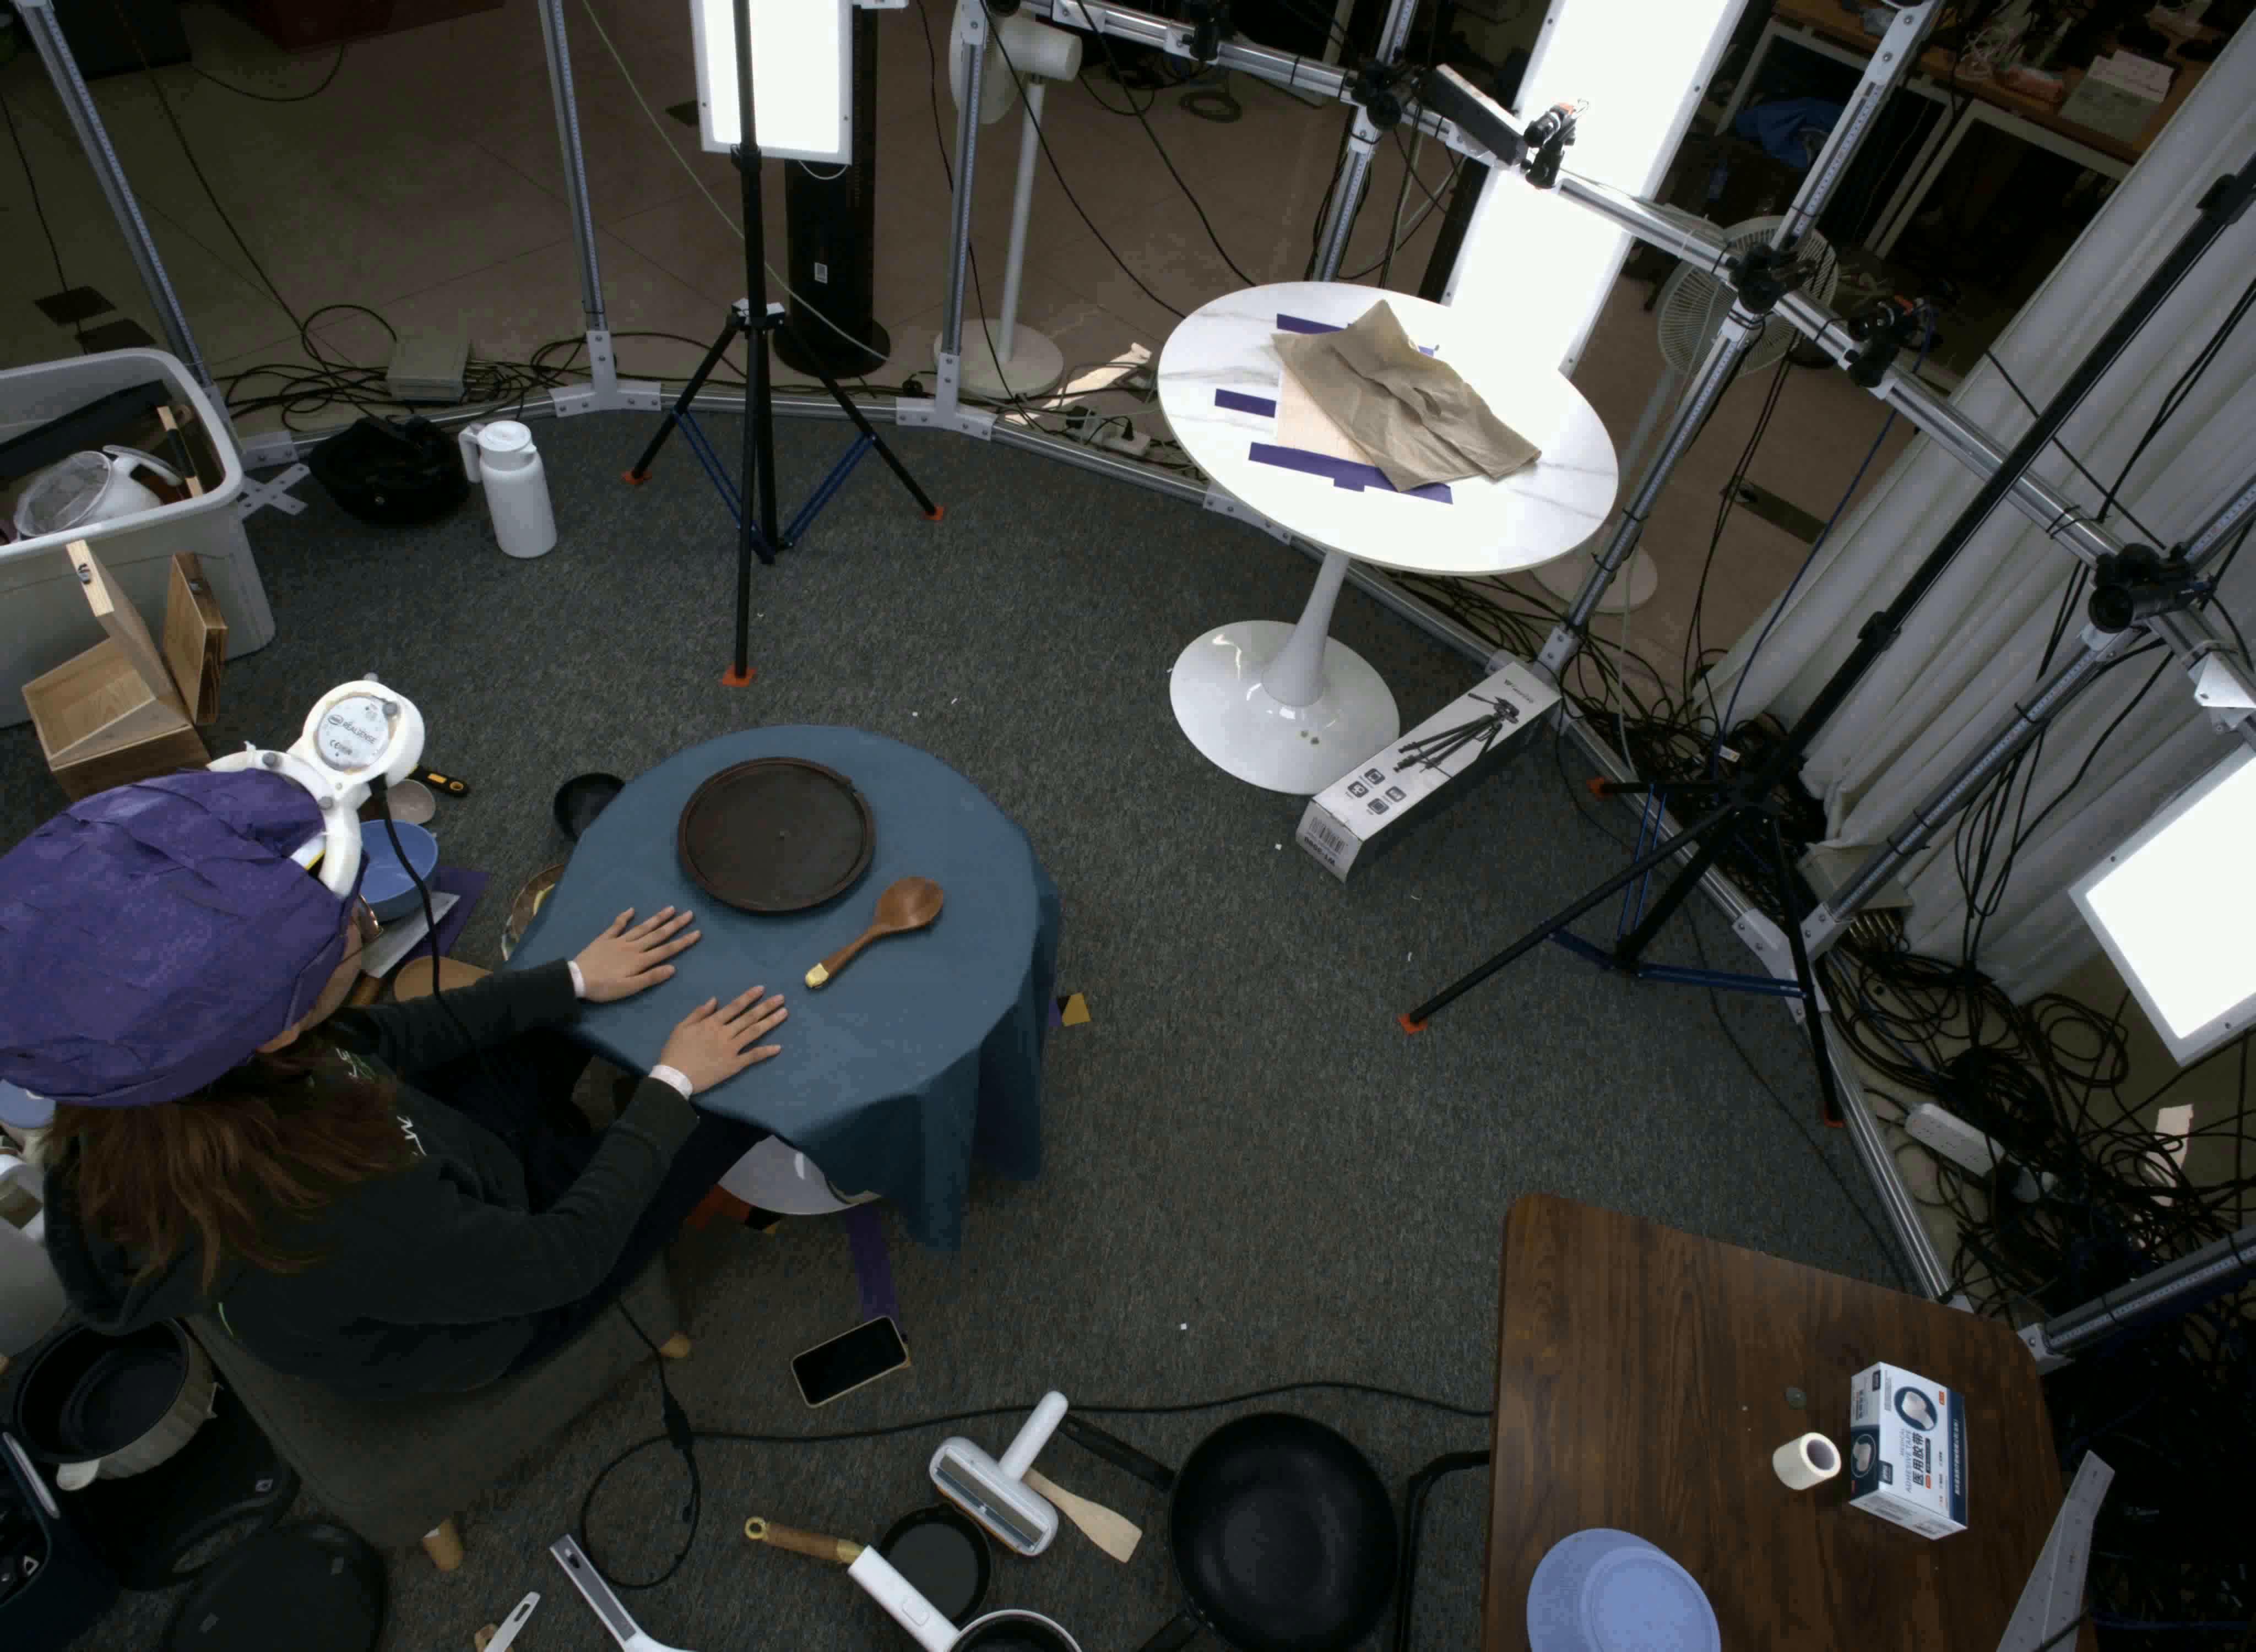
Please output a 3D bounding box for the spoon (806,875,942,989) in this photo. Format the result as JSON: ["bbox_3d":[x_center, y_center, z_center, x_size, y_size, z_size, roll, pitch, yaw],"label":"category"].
[{"bbox_3d":[-0.322,0.134,1.645,0.074,0.017,0.216,39,54,15],"label":"spoon"}]

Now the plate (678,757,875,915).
[{"bbox_3d":[-0.459,0.011,1.698,0.254,0.029,0.250,8,51,-8],"label":"plate"}]
